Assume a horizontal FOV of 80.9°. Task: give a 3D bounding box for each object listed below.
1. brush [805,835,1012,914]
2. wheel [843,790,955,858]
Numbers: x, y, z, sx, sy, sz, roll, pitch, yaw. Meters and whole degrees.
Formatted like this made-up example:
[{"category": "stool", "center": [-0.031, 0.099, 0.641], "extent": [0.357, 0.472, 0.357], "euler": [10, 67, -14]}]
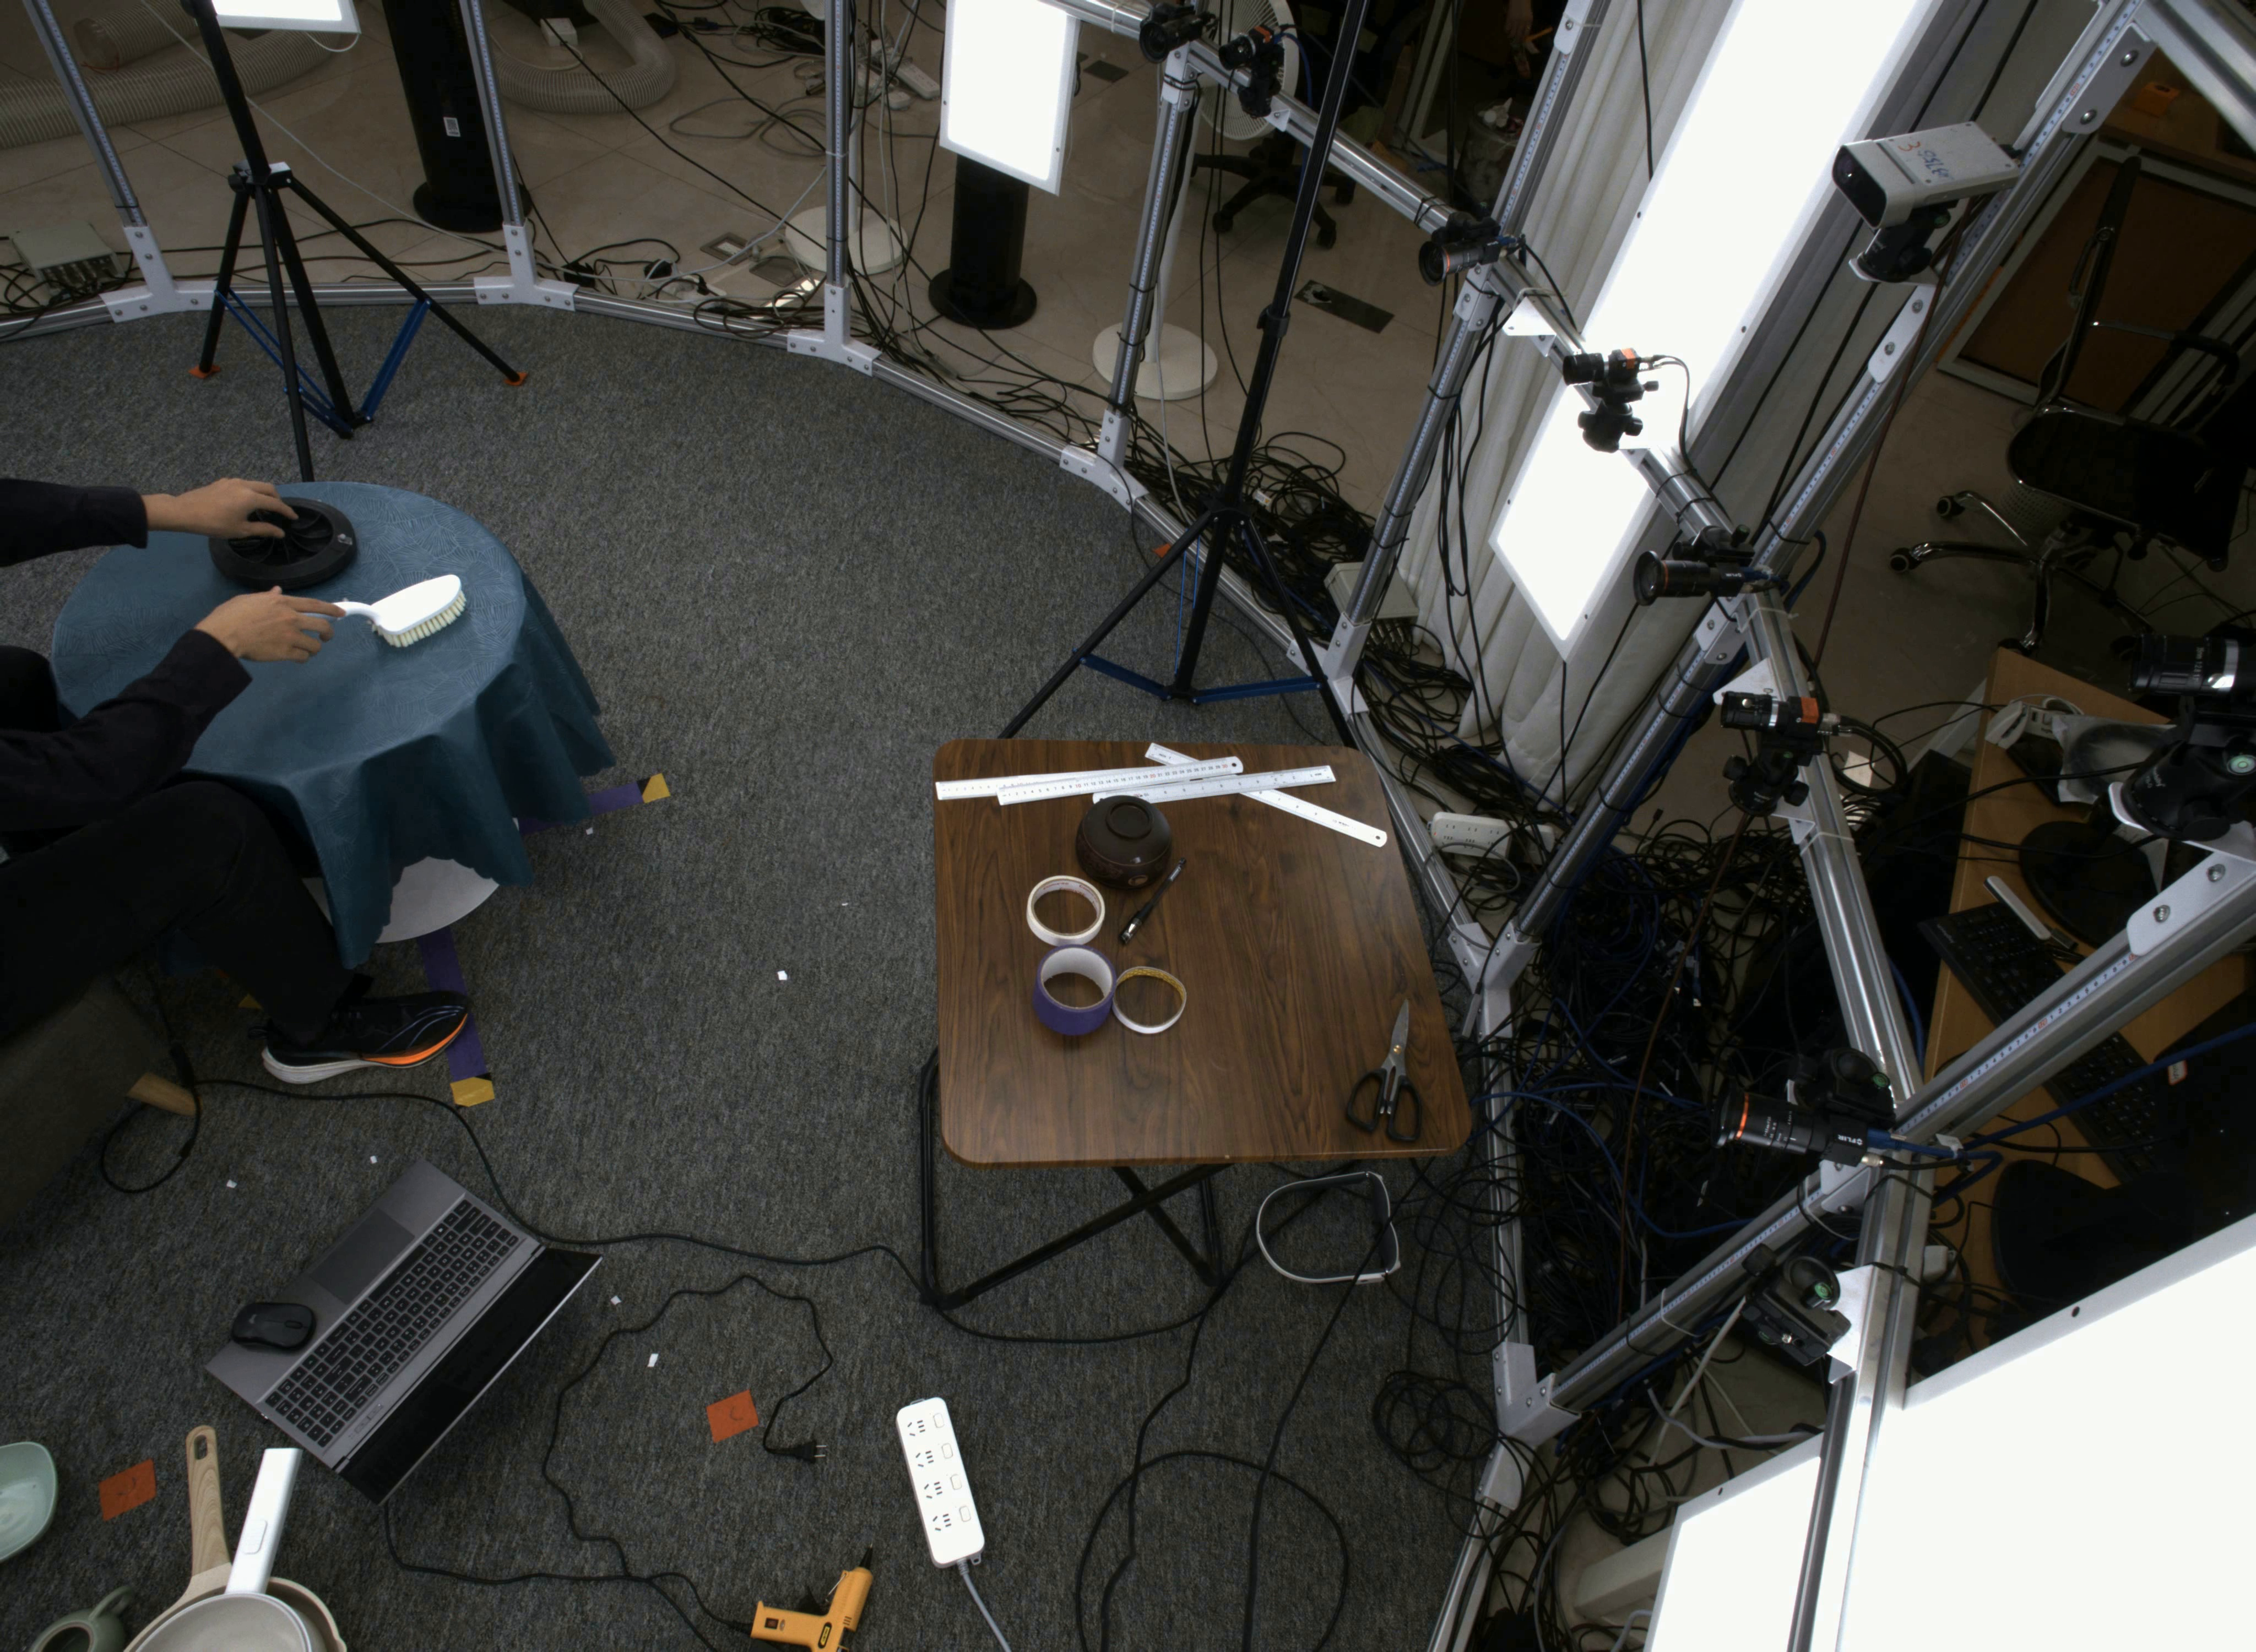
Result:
[{"category": "brush", "center": [-0.331, 0.083, 1.962], "extent": [0.330, 0.084, 0.082], "euler": [10, -16, -25]}, {"category": "wheel", "center": [-0.381, -0.017, 2.176], "extent": [0.185, 0.081, 0.188], "euler": [13, 25, 4]}]
